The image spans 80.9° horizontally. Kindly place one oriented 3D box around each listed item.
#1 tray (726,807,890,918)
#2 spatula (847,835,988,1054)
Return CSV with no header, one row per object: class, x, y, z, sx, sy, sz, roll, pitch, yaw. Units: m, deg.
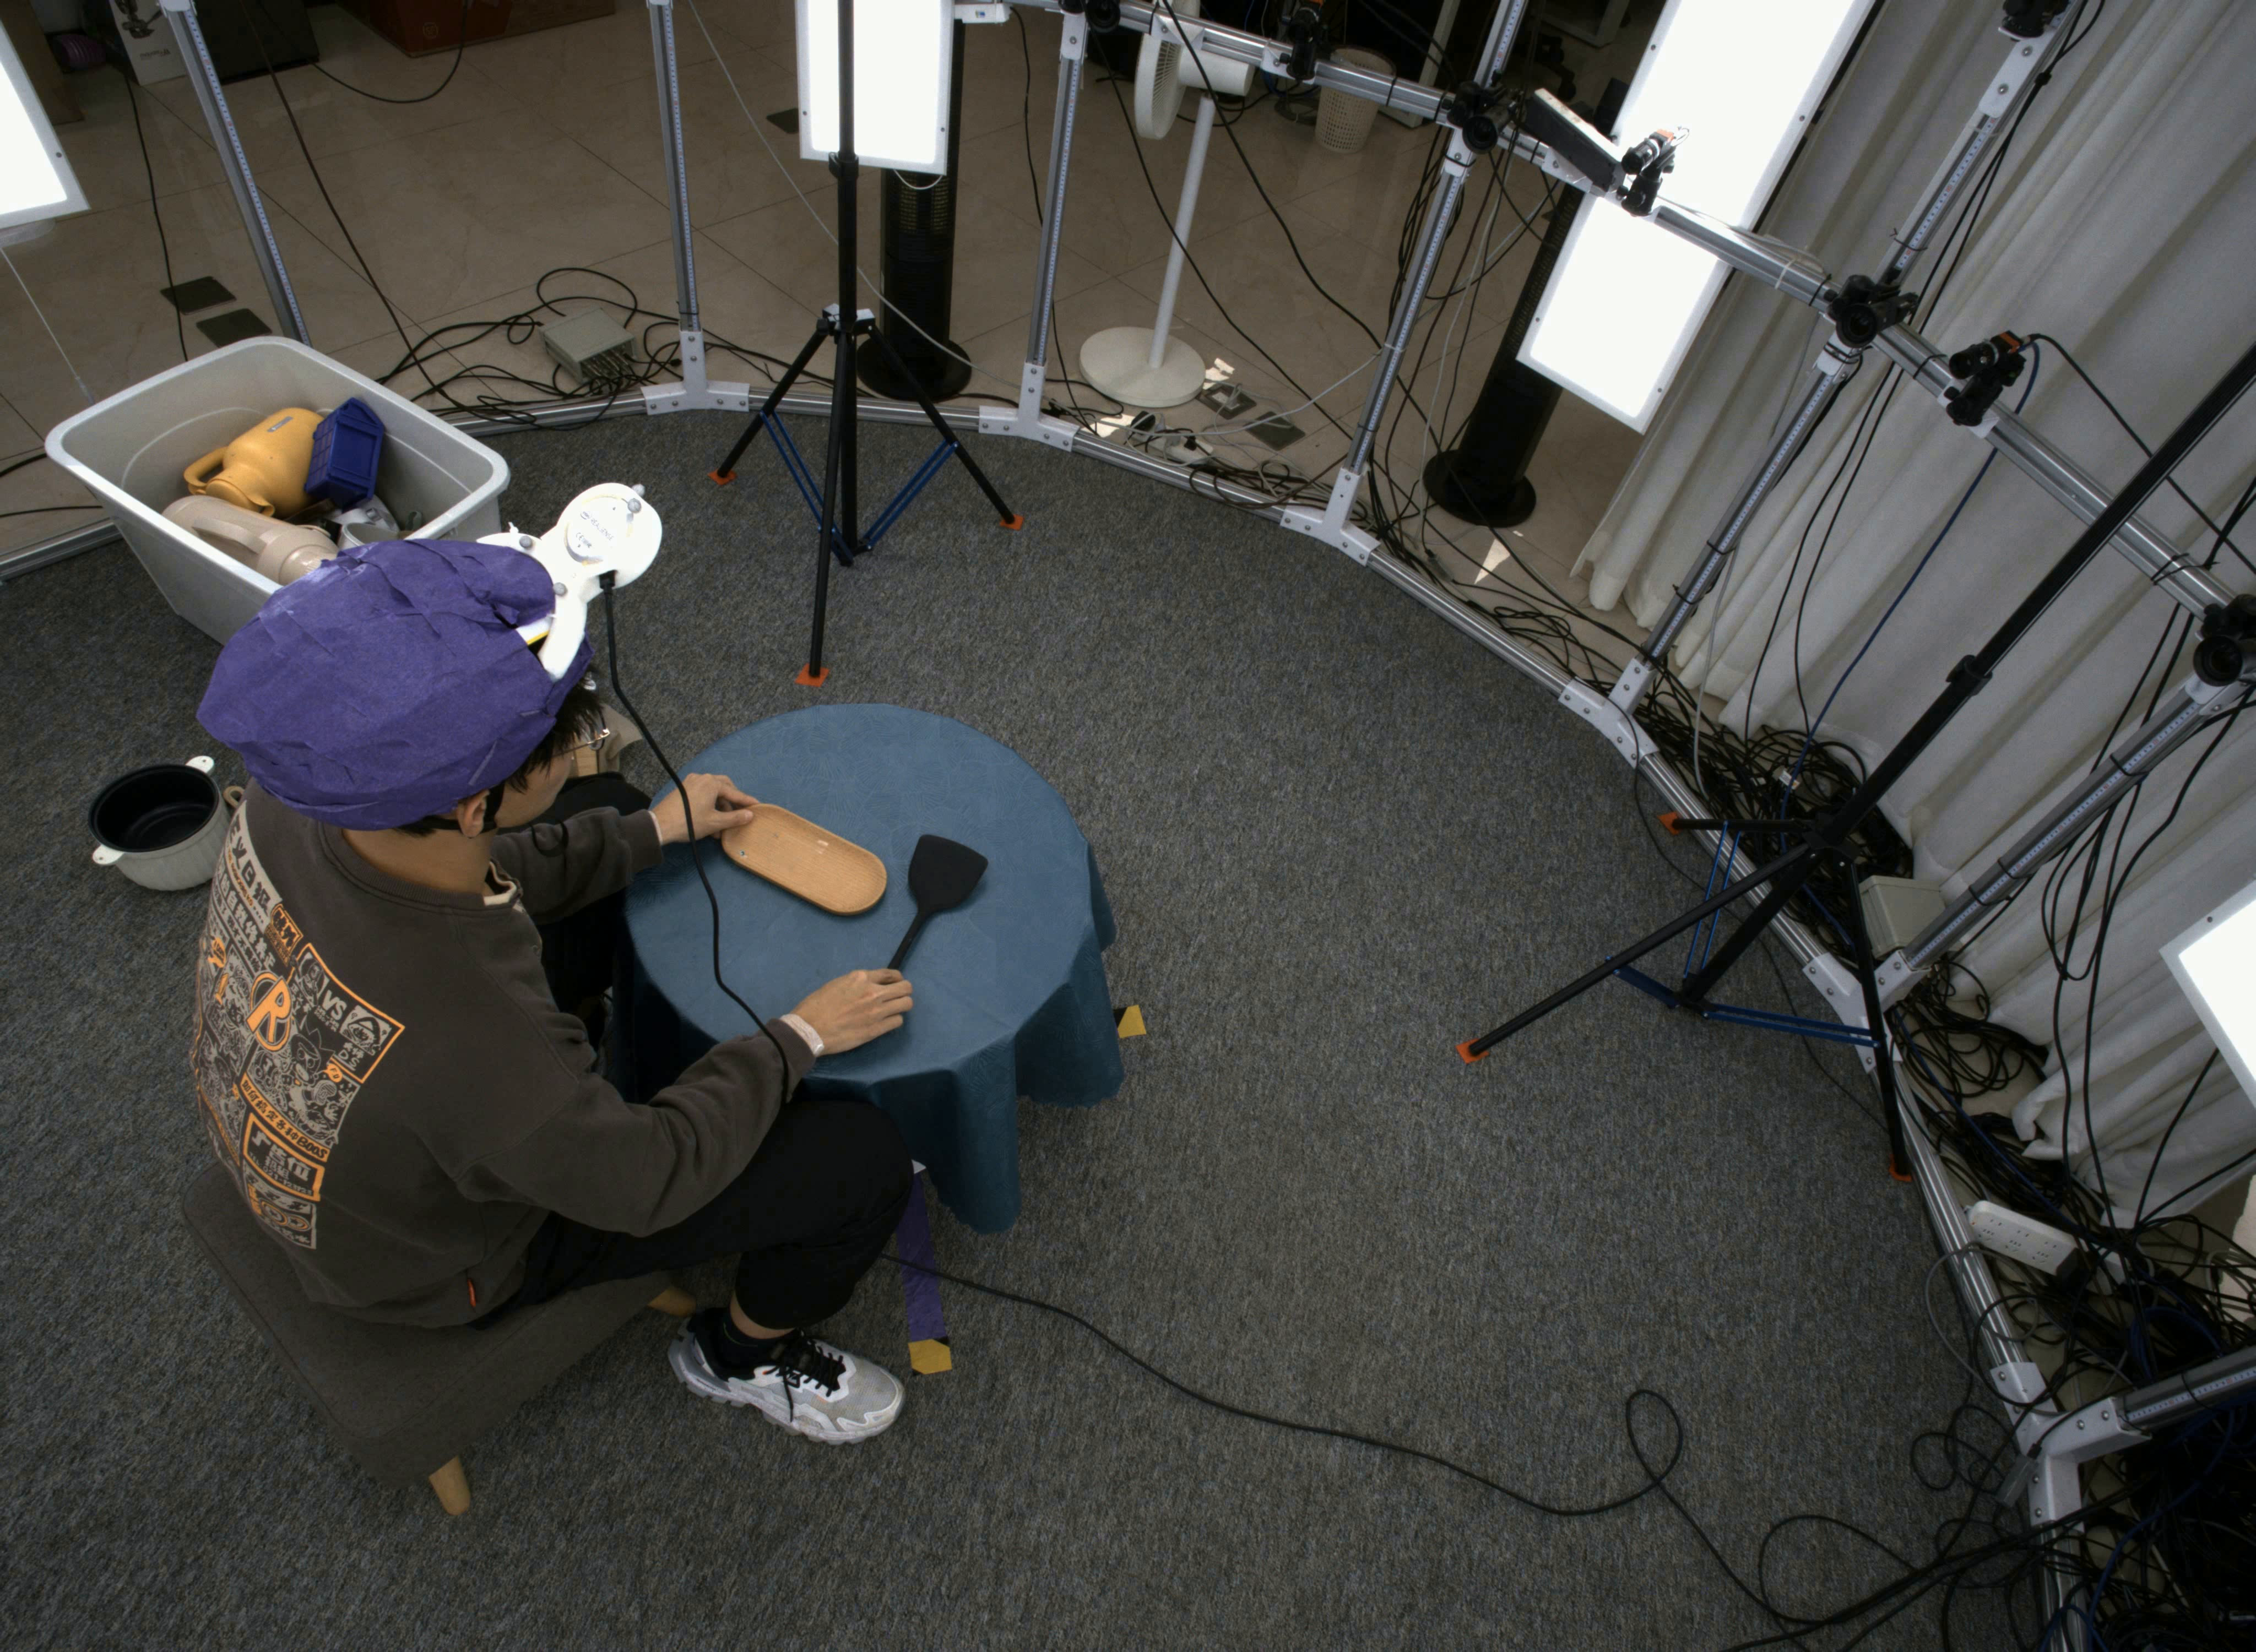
tray,-0.418,0.046,1.695,0.228,0.020,0.101,26,56,4
spatula,-0.278,0.146,1.638,0.099,0.041,0.323,22,49,2
